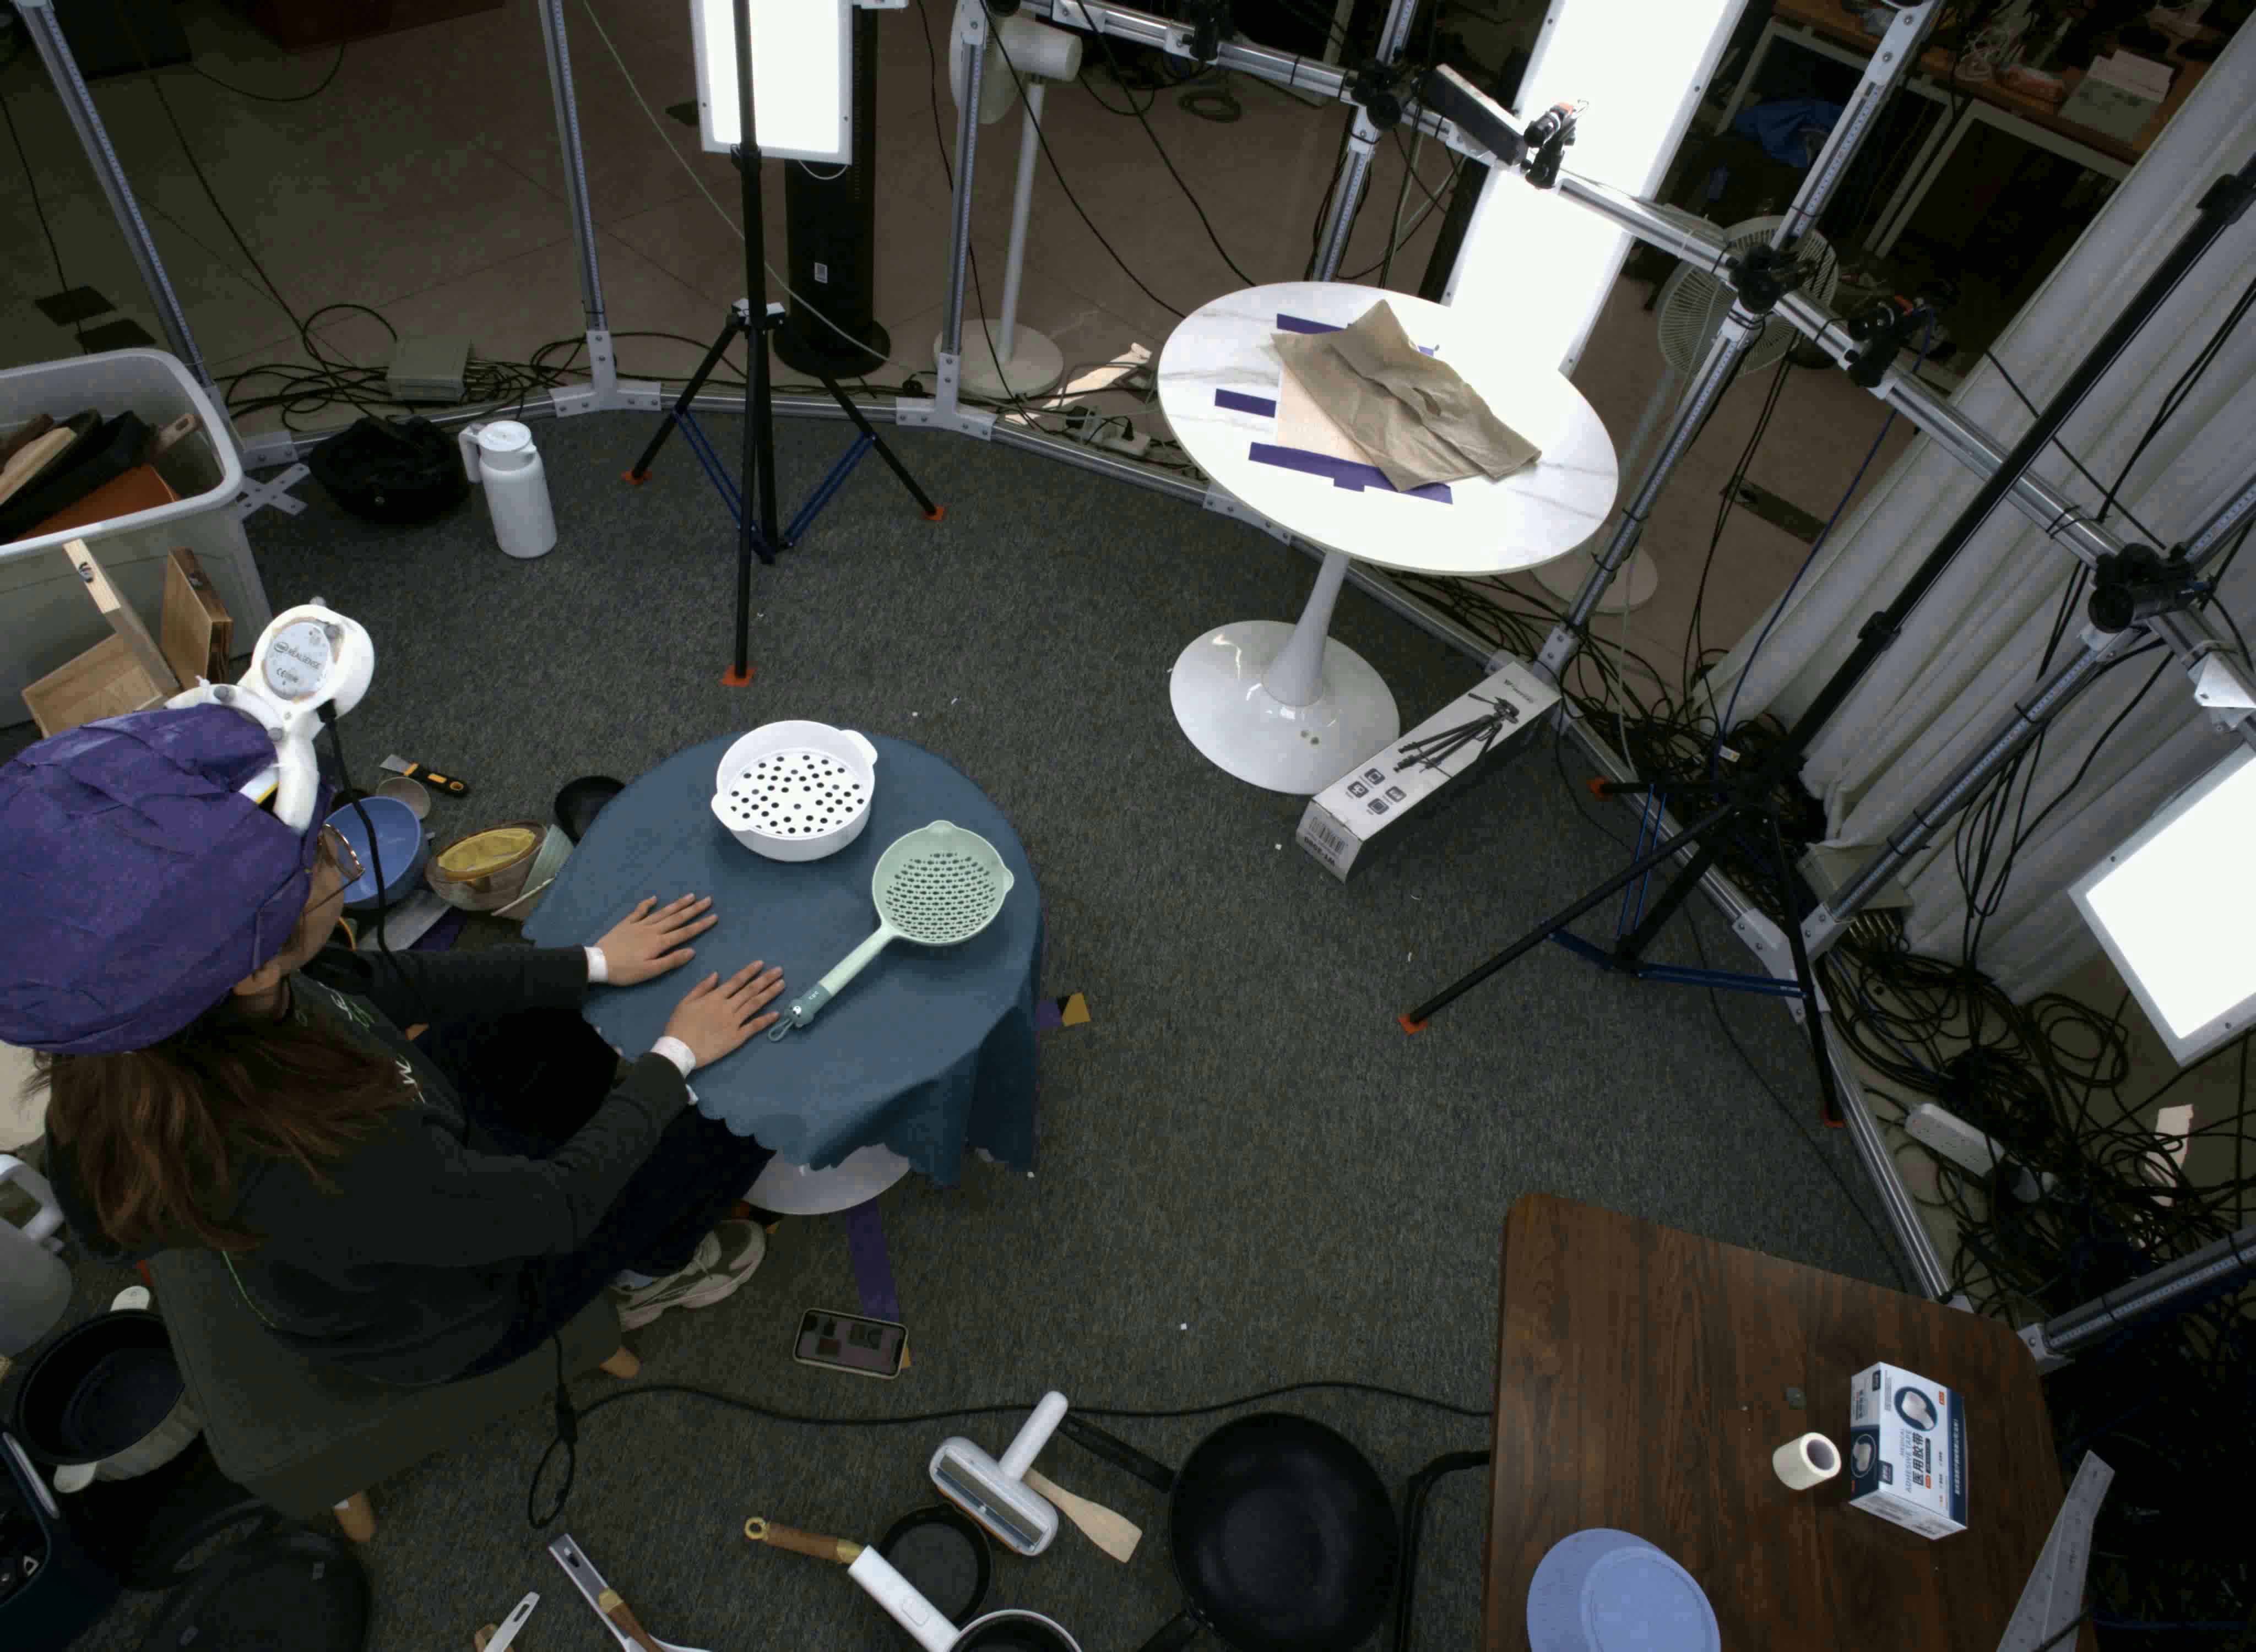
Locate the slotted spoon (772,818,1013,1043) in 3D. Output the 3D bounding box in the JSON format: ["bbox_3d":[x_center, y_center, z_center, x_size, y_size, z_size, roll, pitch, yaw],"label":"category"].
[{"bbox_3d":[-0.303,0.136,1.618,0.166,0.077,0.359,38,54,16],"label":"slotted spoon"}]

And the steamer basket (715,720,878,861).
[{"bbox_3d":[-0.436,-0.047,1.720,0.231,0.071,0.197,-34,67,-32],"label":"steamer basket"}]
